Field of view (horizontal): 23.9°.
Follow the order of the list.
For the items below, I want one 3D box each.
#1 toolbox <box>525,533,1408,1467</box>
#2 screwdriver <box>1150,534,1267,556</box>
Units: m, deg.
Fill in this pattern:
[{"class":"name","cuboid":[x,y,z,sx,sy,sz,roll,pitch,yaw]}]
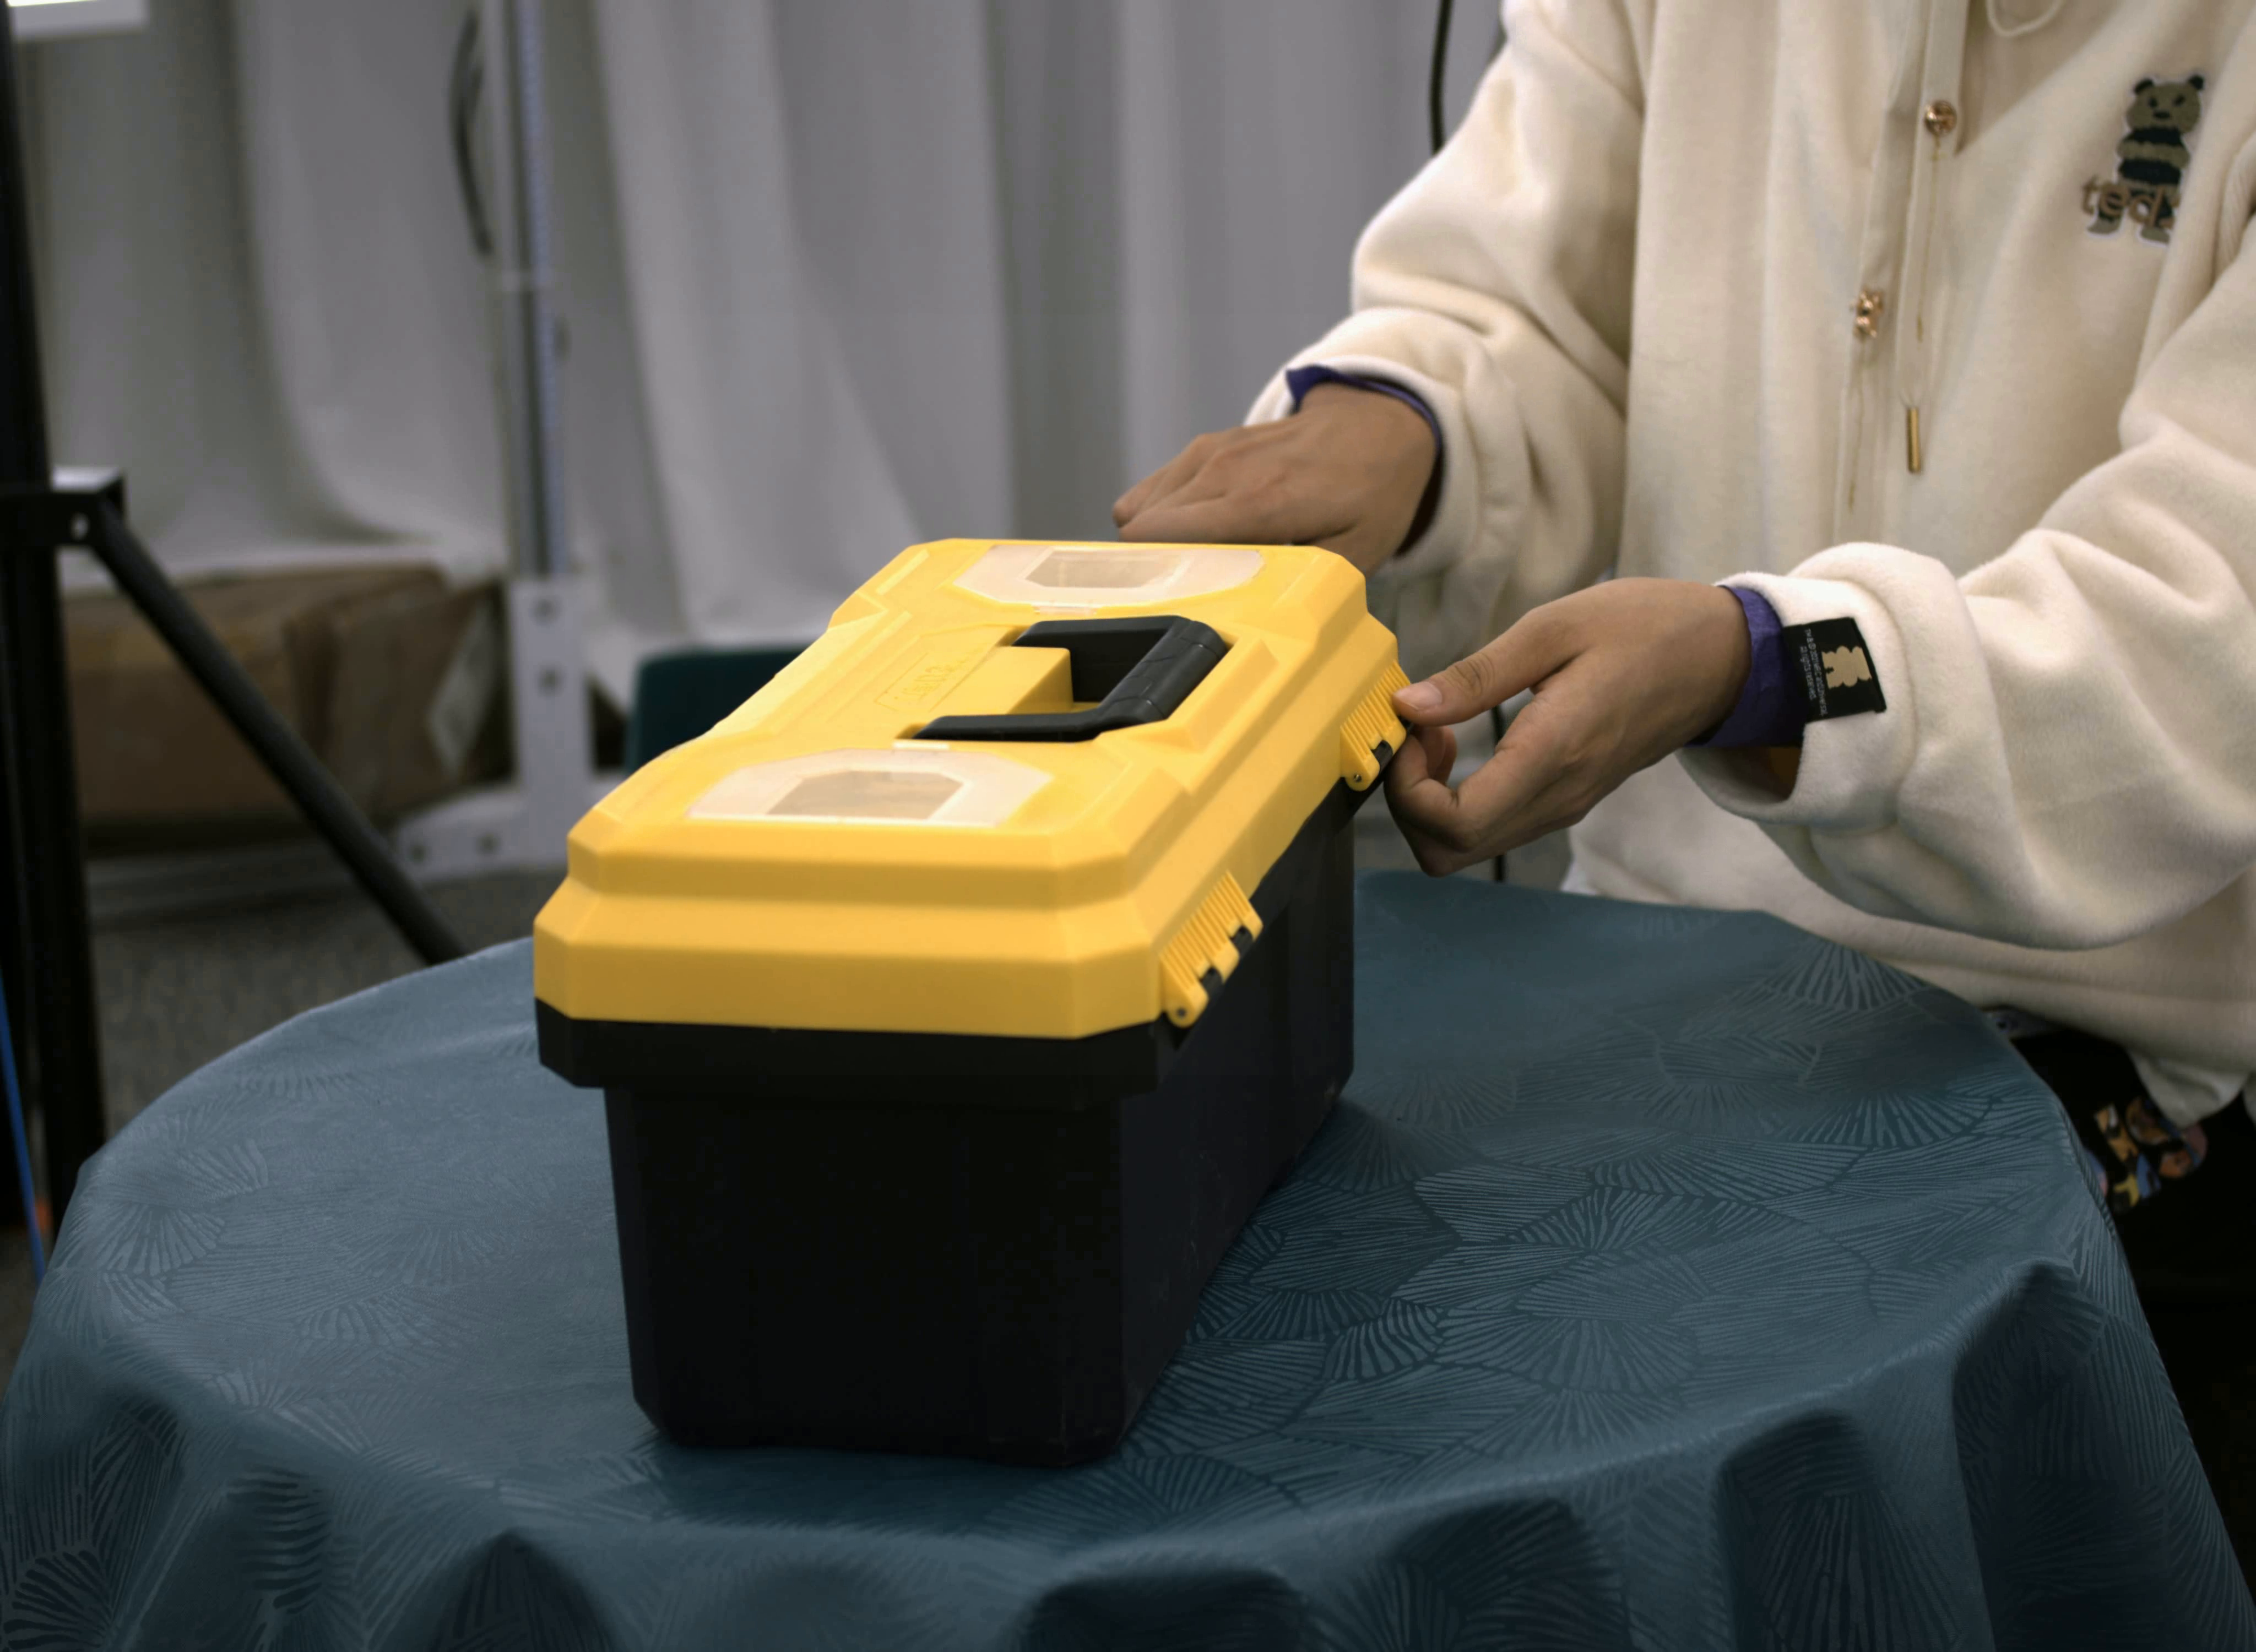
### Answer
[{"class":"toolbox","cuboid":[-0.033,0.038,1.491,0.183,0.173,0.348,2,16,15]},{"class":"screwdriver","cuboid":[0.011,-0.082,1.724,0.032,0.031,0.193,4,1,19]}]
